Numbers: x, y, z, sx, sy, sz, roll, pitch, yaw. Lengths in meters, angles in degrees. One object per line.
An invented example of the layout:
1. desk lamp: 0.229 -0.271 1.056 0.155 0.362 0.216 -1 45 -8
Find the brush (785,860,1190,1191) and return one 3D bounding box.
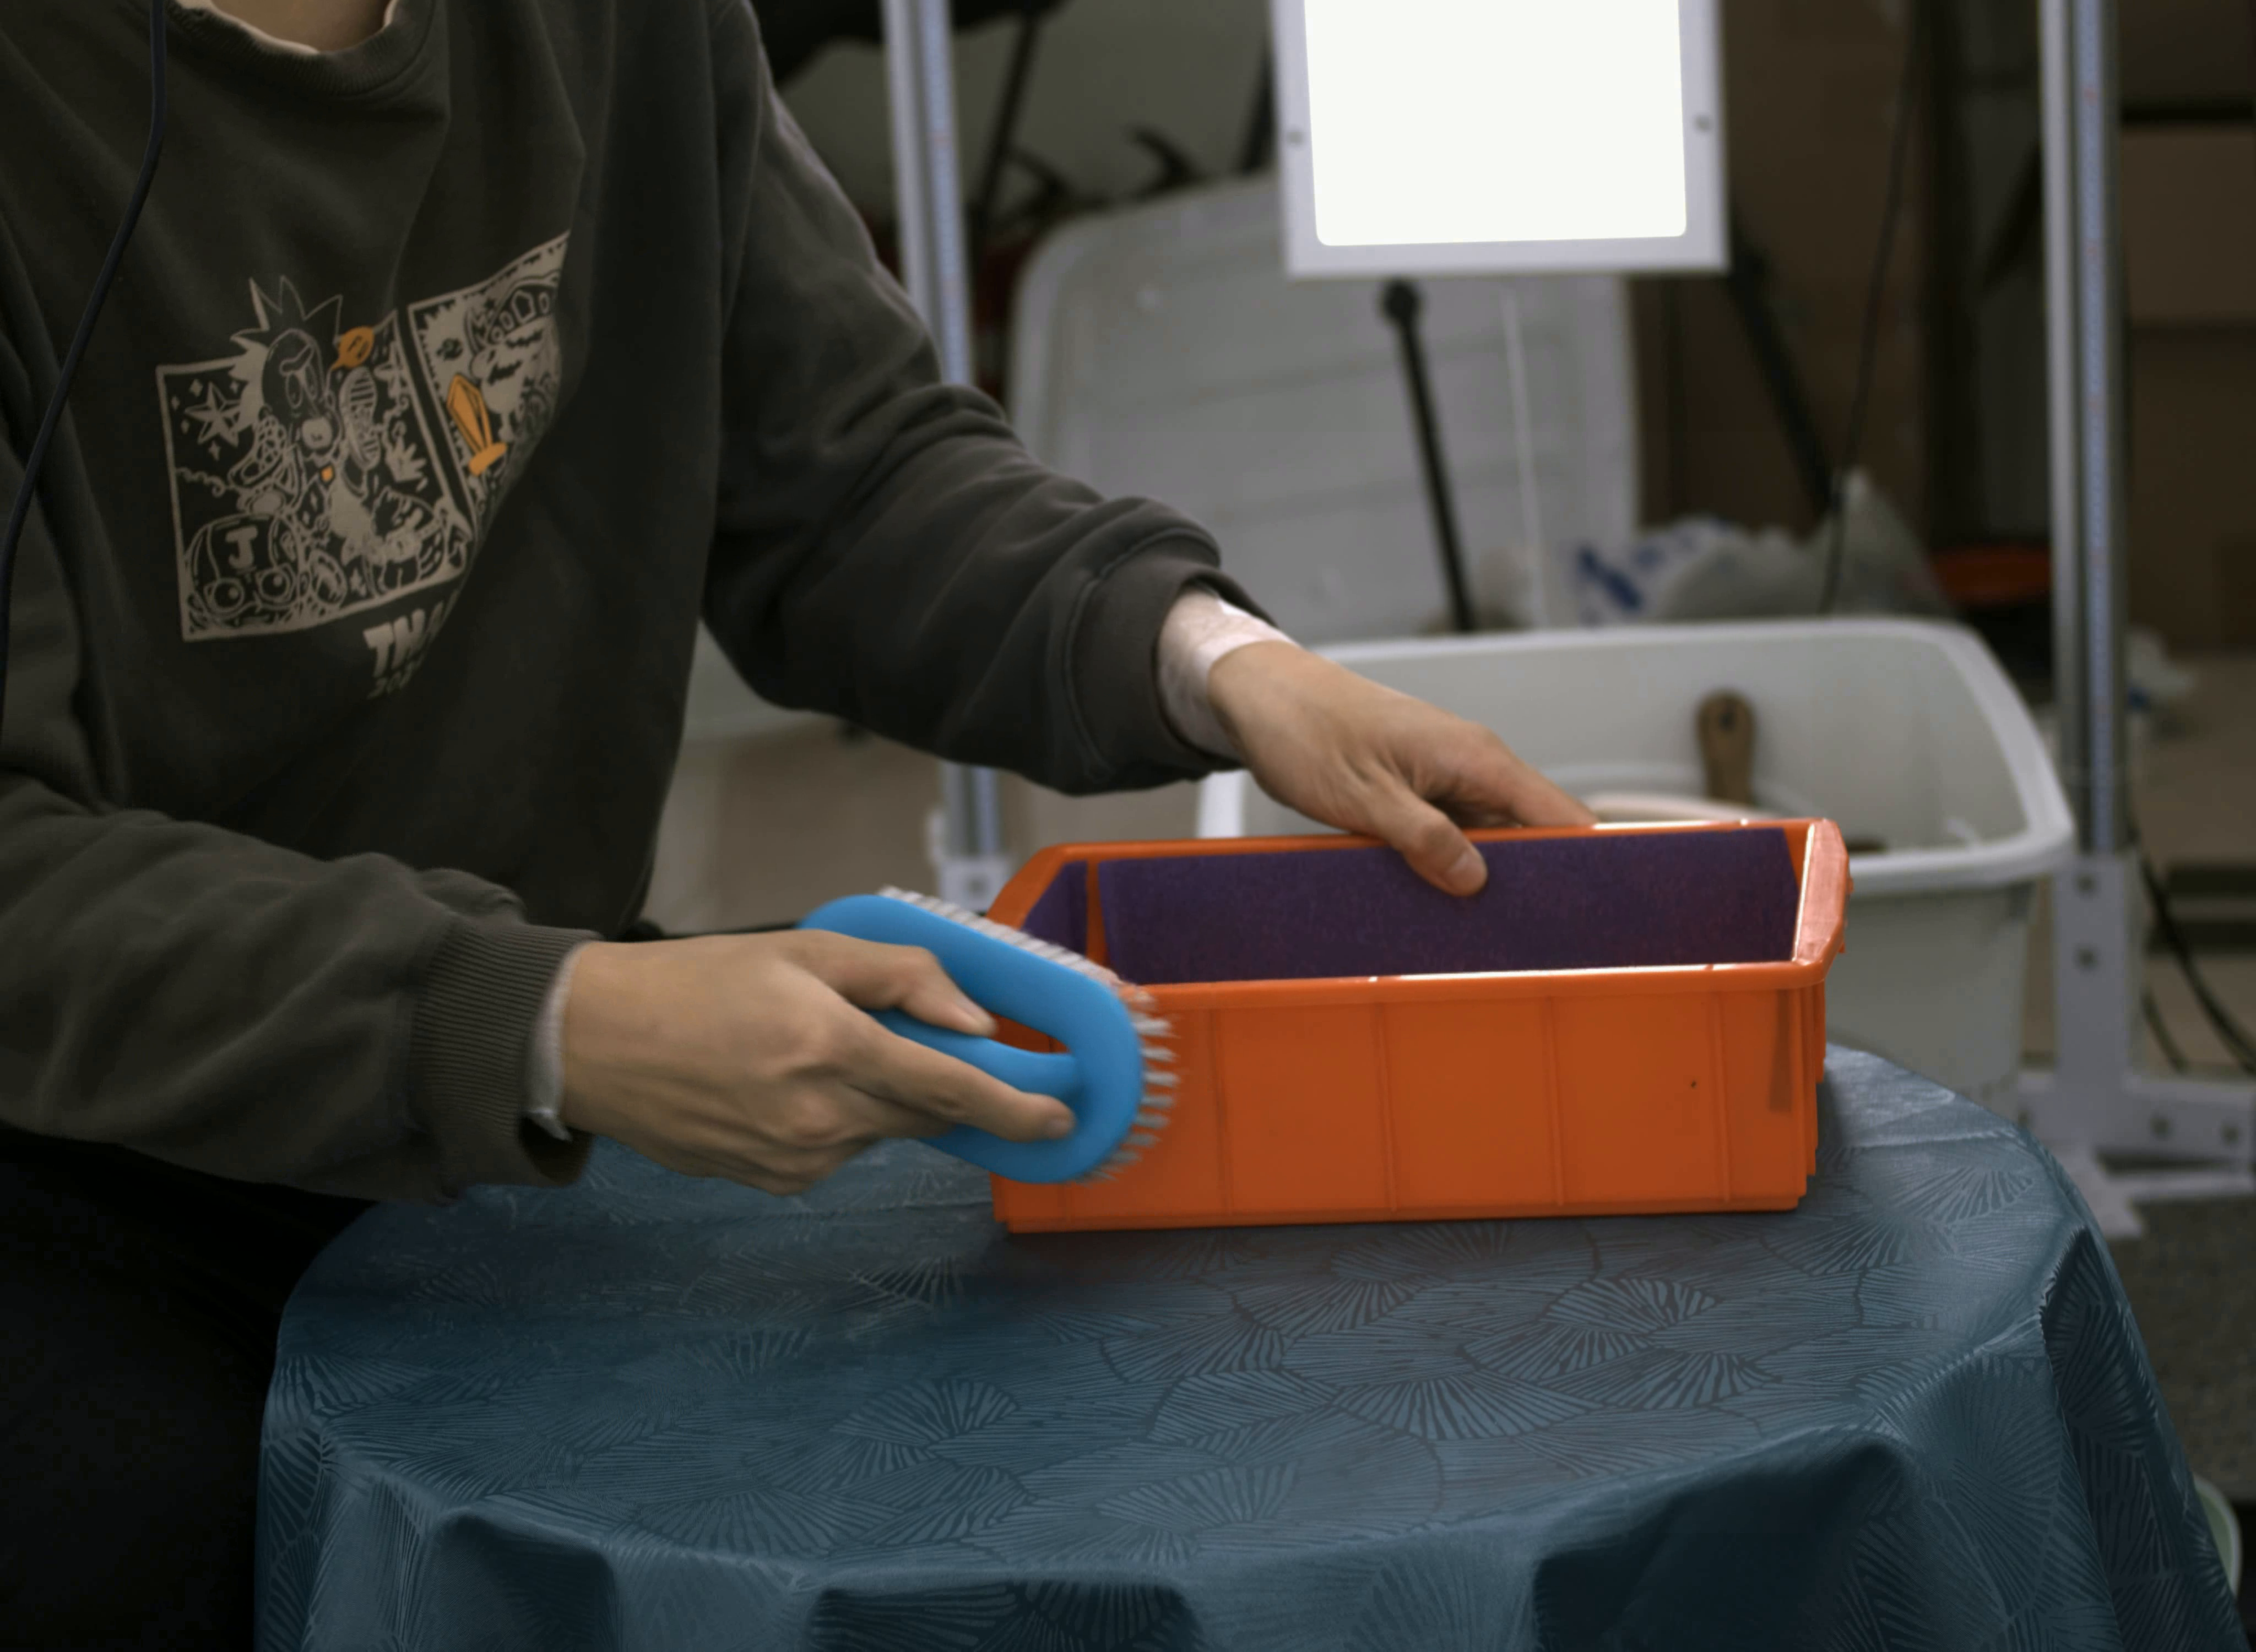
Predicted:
1. brush: -0.054 0.067 1.804 0.143 0.085 0.062 26 13 22

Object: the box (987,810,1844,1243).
1. box: 0.099 0.069 1.913 0.306 0.097 0.204 -2 14 12
